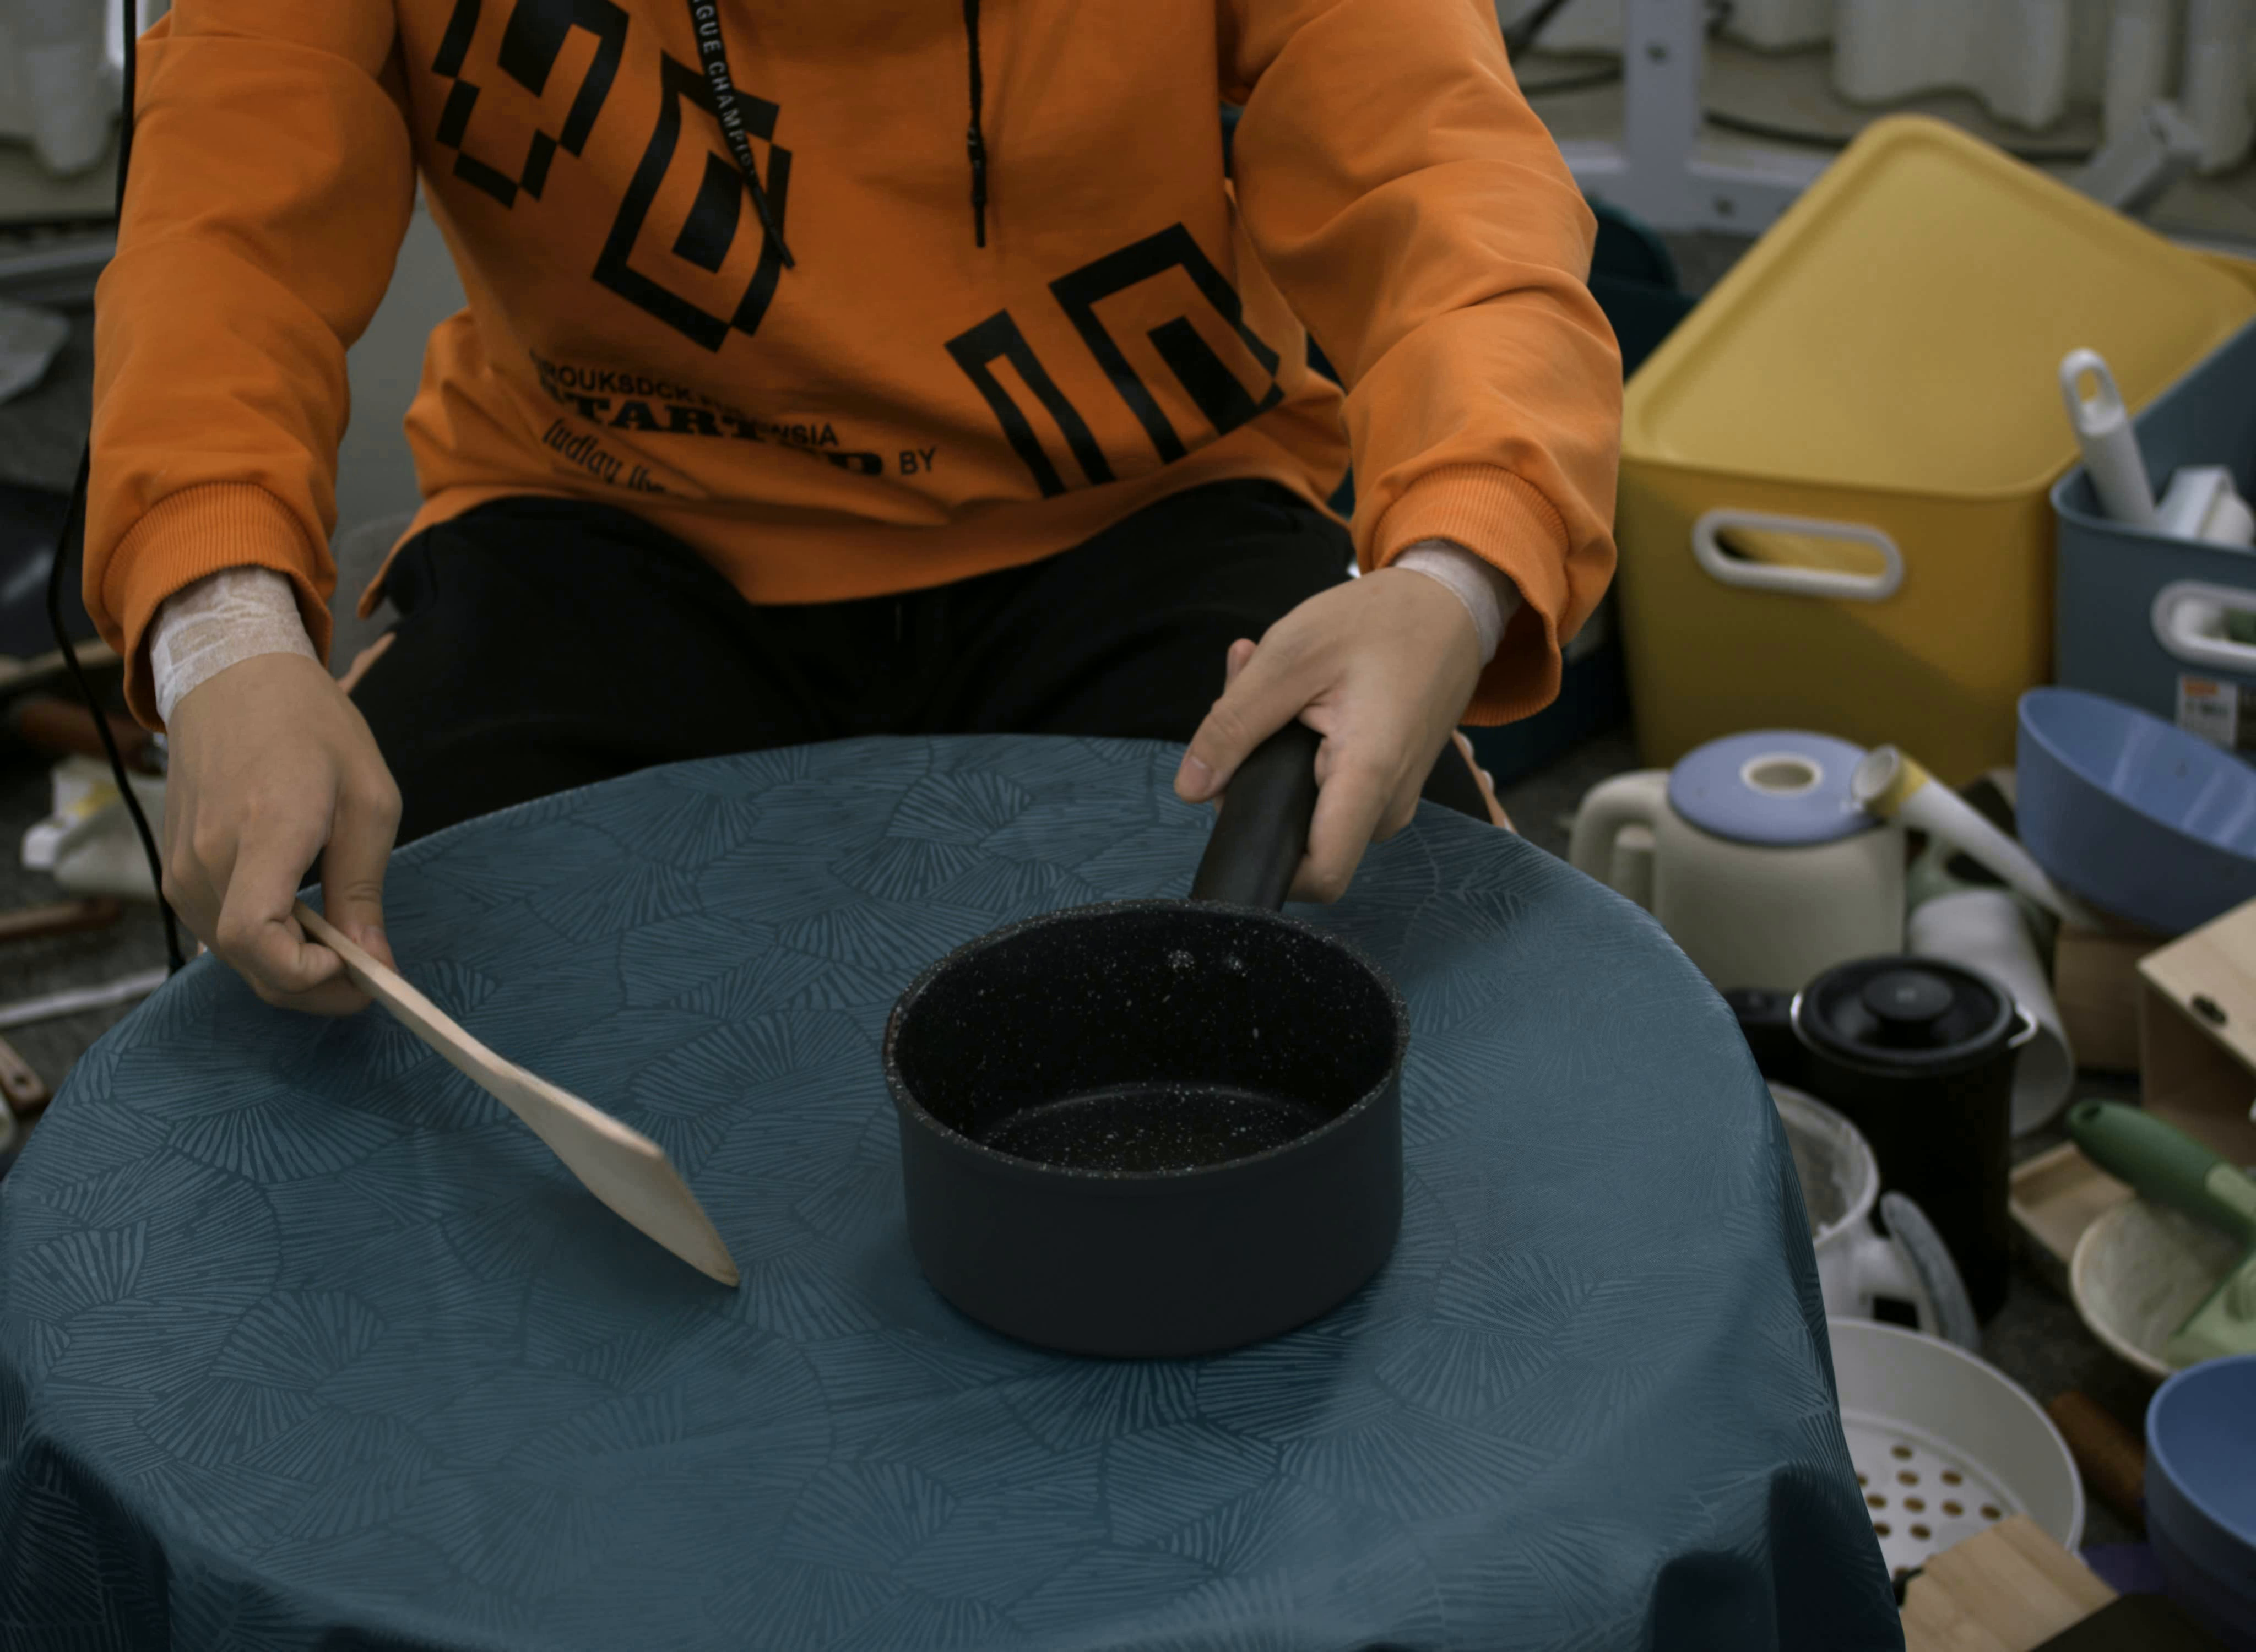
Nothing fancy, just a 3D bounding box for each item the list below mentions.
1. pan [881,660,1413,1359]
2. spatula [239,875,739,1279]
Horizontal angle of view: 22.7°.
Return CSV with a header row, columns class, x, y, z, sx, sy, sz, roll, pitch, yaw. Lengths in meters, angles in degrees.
class,x,y,z,sx,sy,sz,roll,pitch,yaw
pan,0.031,0.057,1.888,0.171,0.085,0.335,7,32,16
spatula,-0.226,0.075,1.901,0.011,0.071,0.293,-41,41,-17
